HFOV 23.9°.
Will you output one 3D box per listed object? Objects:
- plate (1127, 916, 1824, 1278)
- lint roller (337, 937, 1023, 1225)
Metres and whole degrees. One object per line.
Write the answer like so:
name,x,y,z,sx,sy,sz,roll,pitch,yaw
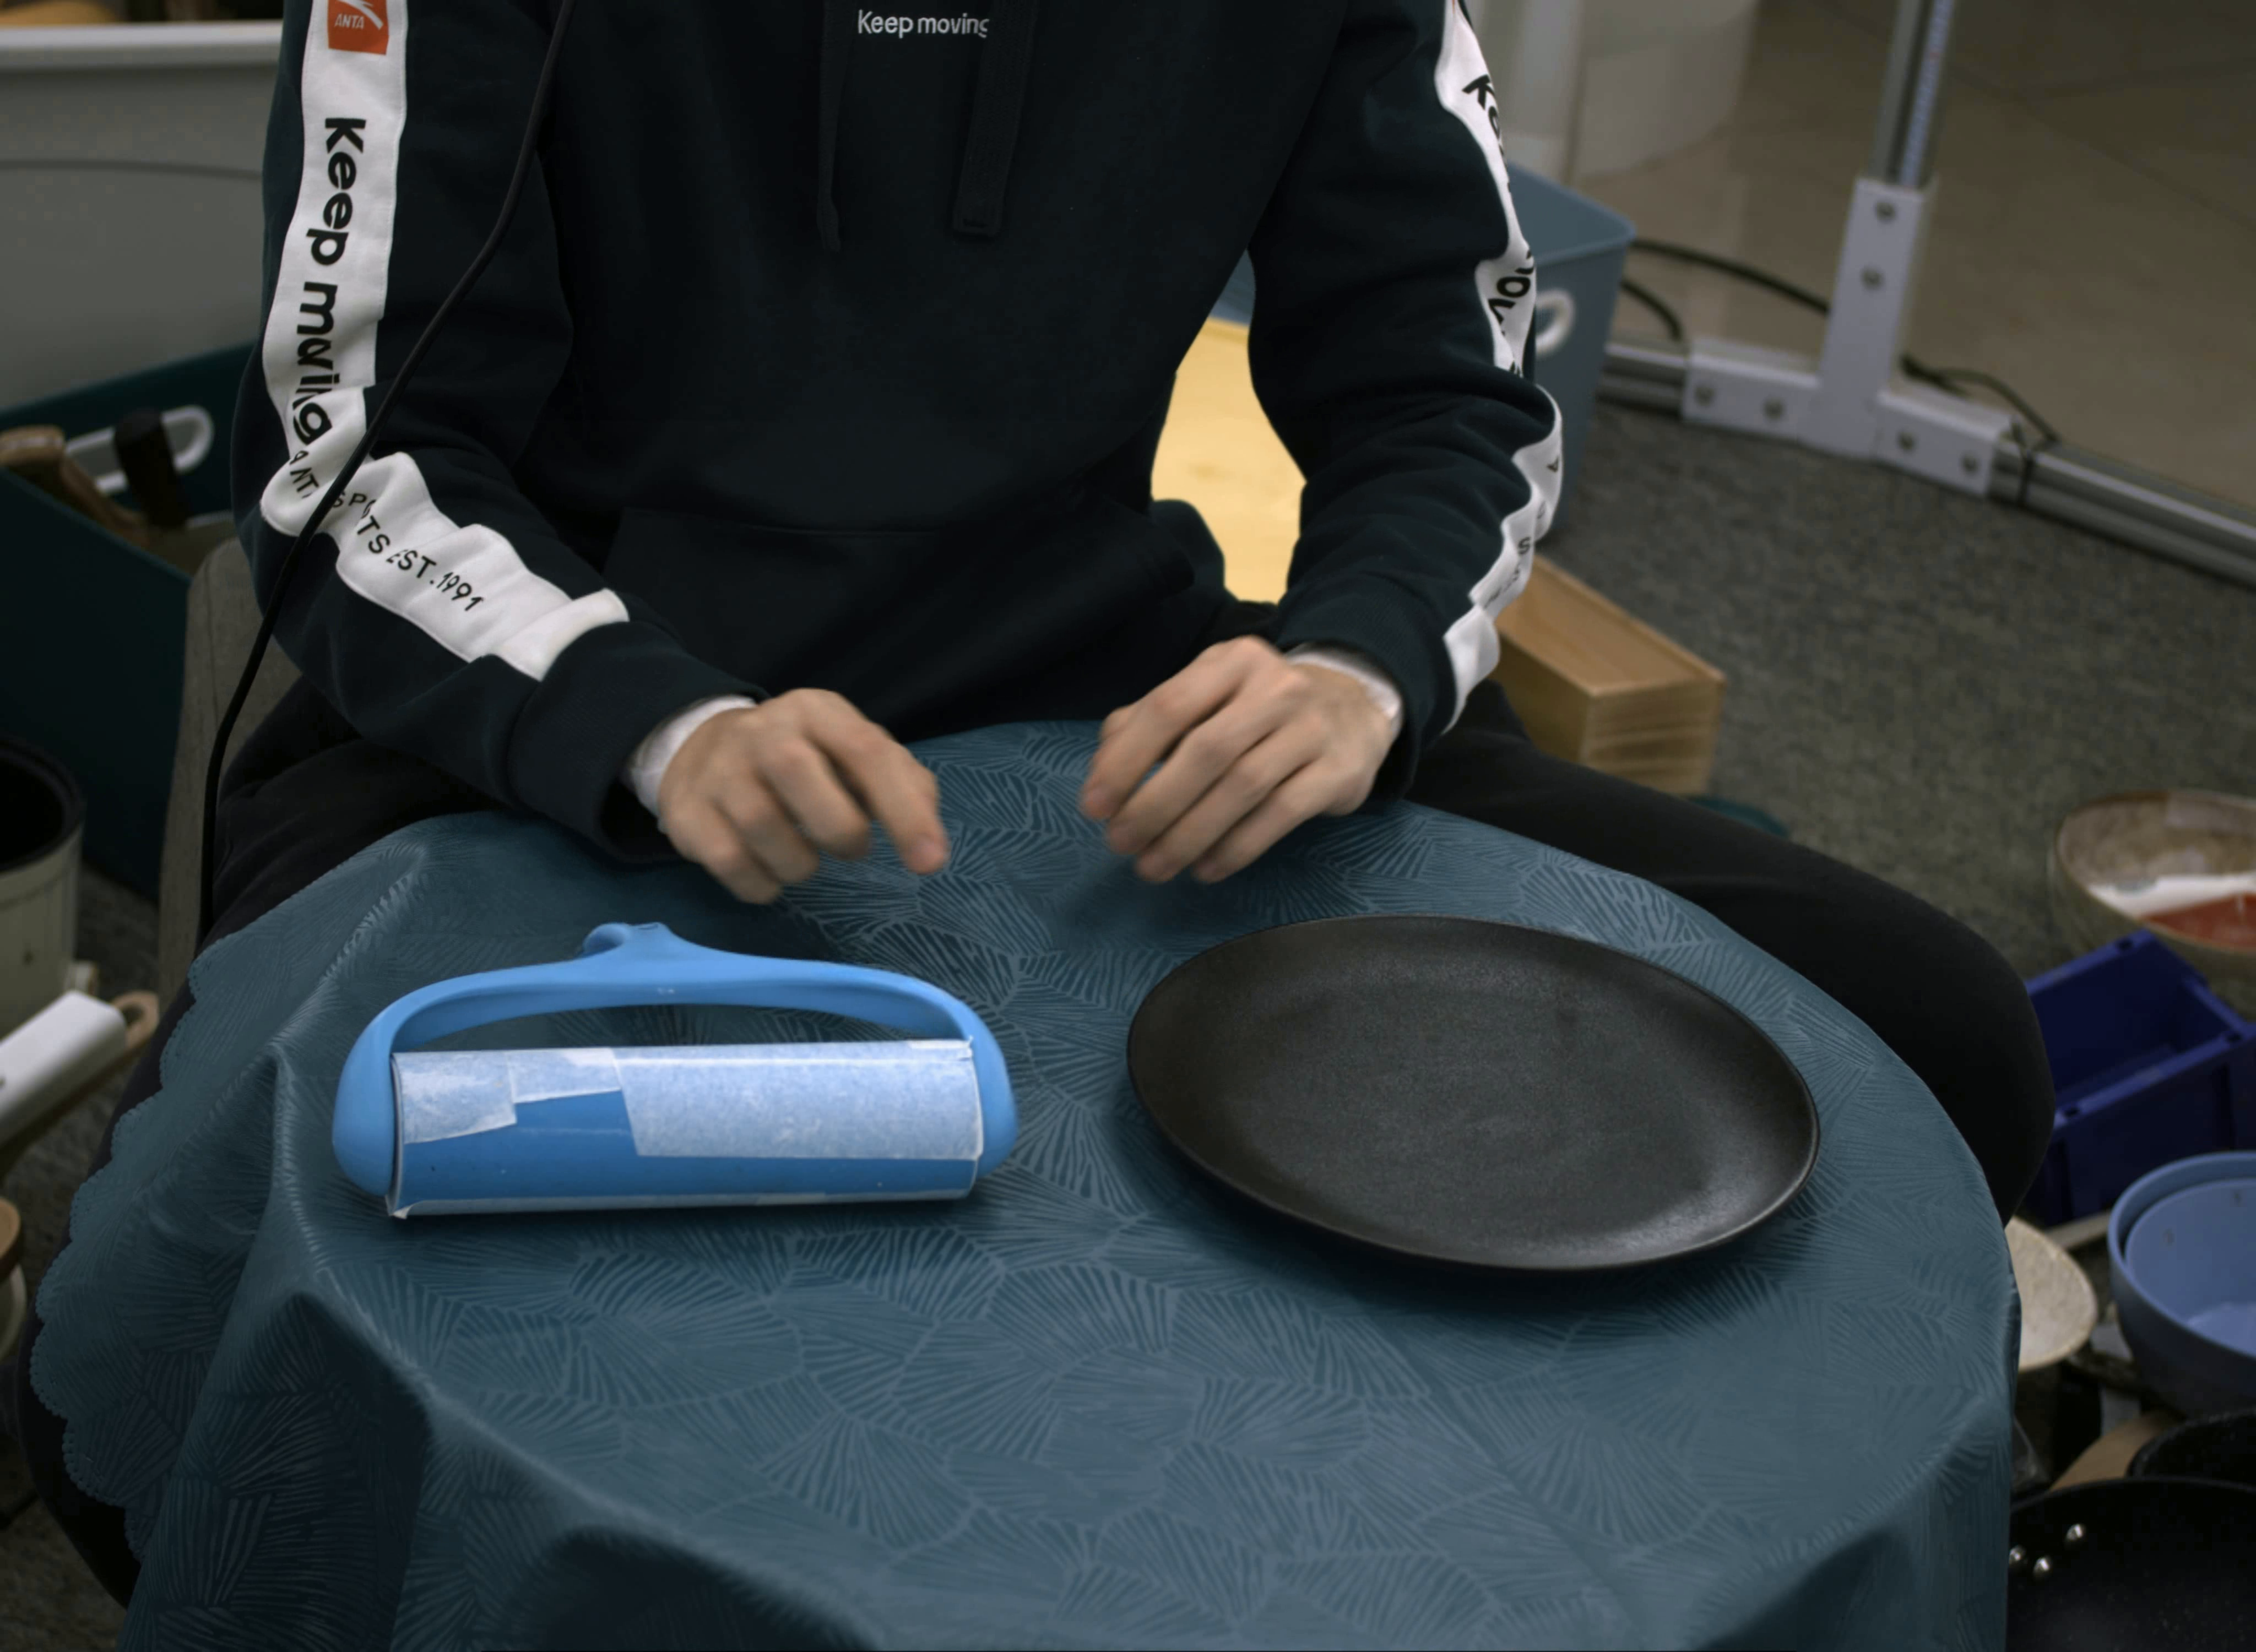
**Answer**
plate,0.120,0.099,1.849,0.243,0.023,0.246,5,27,-3
lint roller,-0.162,0.072,1.803,0.227,0.068,0.182,-3,29,-16
